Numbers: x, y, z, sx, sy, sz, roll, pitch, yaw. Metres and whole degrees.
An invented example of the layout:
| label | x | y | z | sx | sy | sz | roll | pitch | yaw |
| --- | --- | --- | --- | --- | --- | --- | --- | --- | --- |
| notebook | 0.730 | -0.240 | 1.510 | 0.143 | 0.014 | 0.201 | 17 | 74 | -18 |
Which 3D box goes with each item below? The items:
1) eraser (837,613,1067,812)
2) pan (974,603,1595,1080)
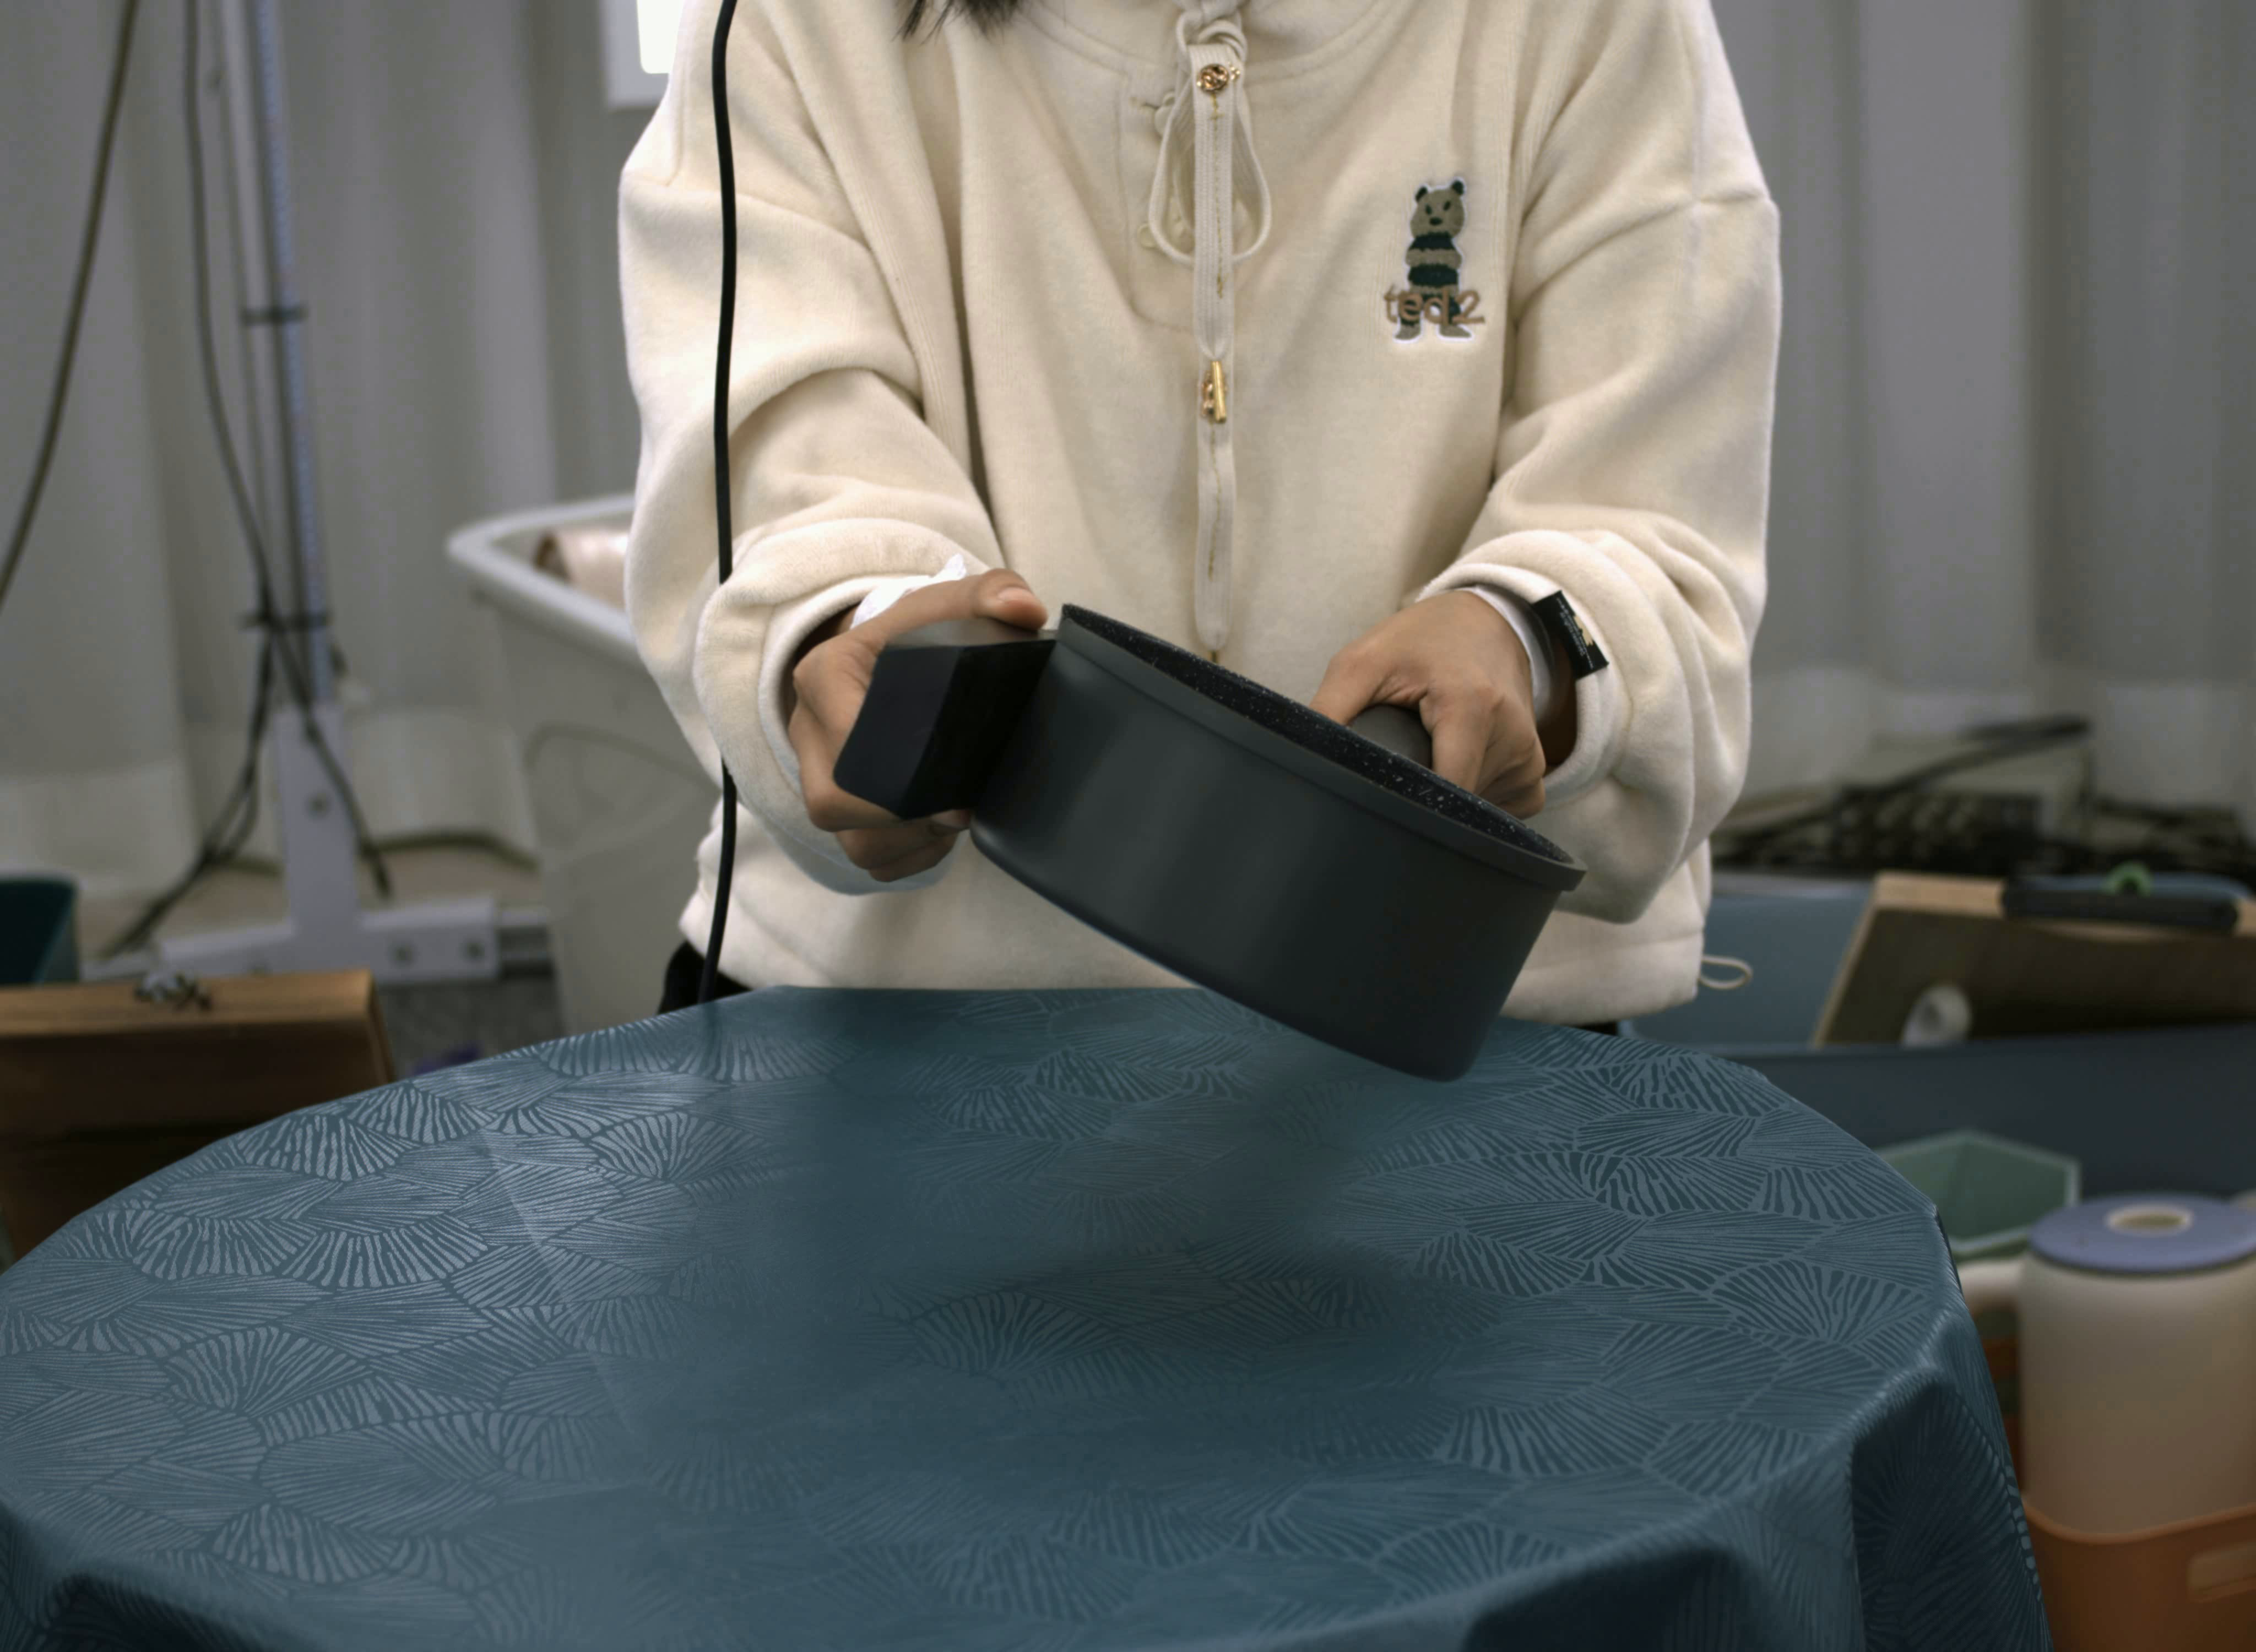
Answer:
| label | x | y | z | sx | sy | sz | roll | pitch | yaw |
| --- | --- | --- | --- | --- | --- | --- | --- | --- | --- |
| eraser | -0.047 | -0.034 | 1.594 | 0.030 | 0.053 | 0.125 | 25 | 8 | 11 |
| pan | 0.059 | 0.003 | 1.665 | 0.172 | 0.086 | 0.328 | 28 | 7 | 11 |
